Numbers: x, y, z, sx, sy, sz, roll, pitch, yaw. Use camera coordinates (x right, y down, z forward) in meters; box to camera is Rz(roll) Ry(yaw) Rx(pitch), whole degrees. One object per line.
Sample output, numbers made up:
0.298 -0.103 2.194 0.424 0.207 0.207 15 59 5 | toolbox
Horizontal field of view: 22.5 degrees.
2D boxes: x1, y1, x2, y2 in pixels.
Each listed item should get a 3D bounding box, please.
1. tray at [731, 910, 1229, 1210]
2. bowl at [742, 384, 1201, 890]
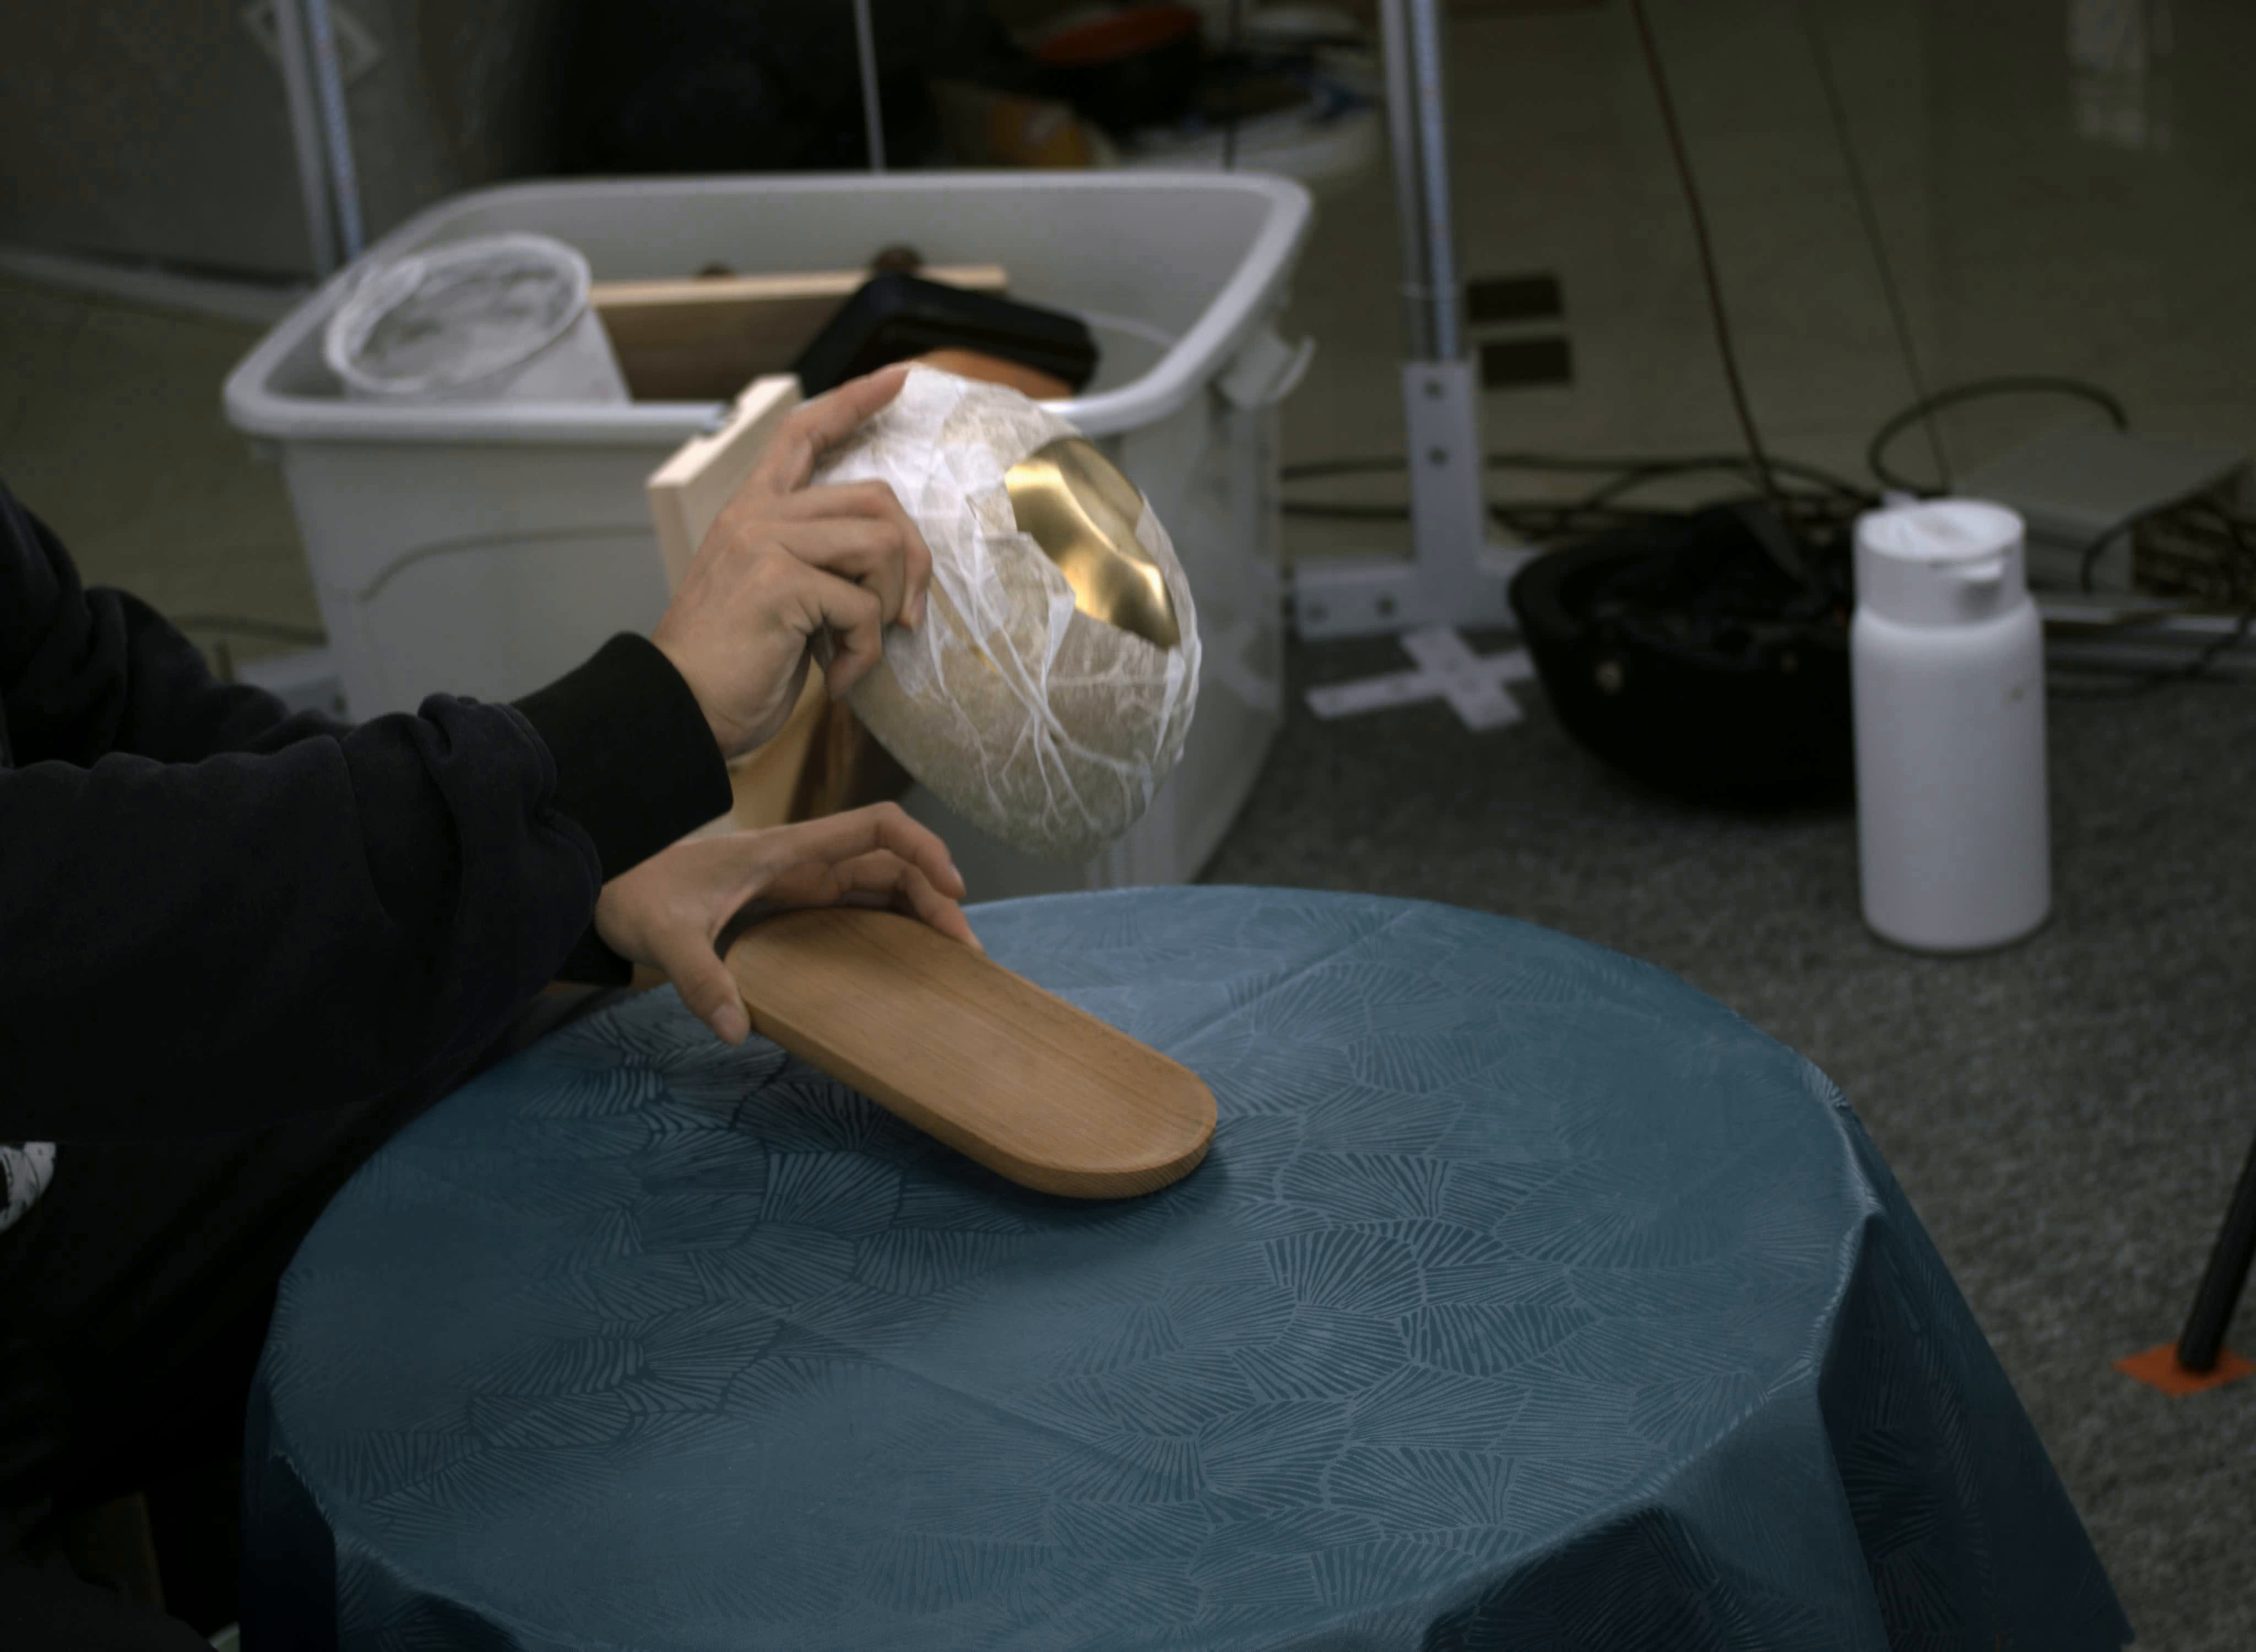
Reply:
-0.060 0.090 2.211 0.229 0.021 0.101 29 39 33 | tray
-0.037 -0.085 2.094 0.095 0.216 0.211 -35 16 22 | bowl
